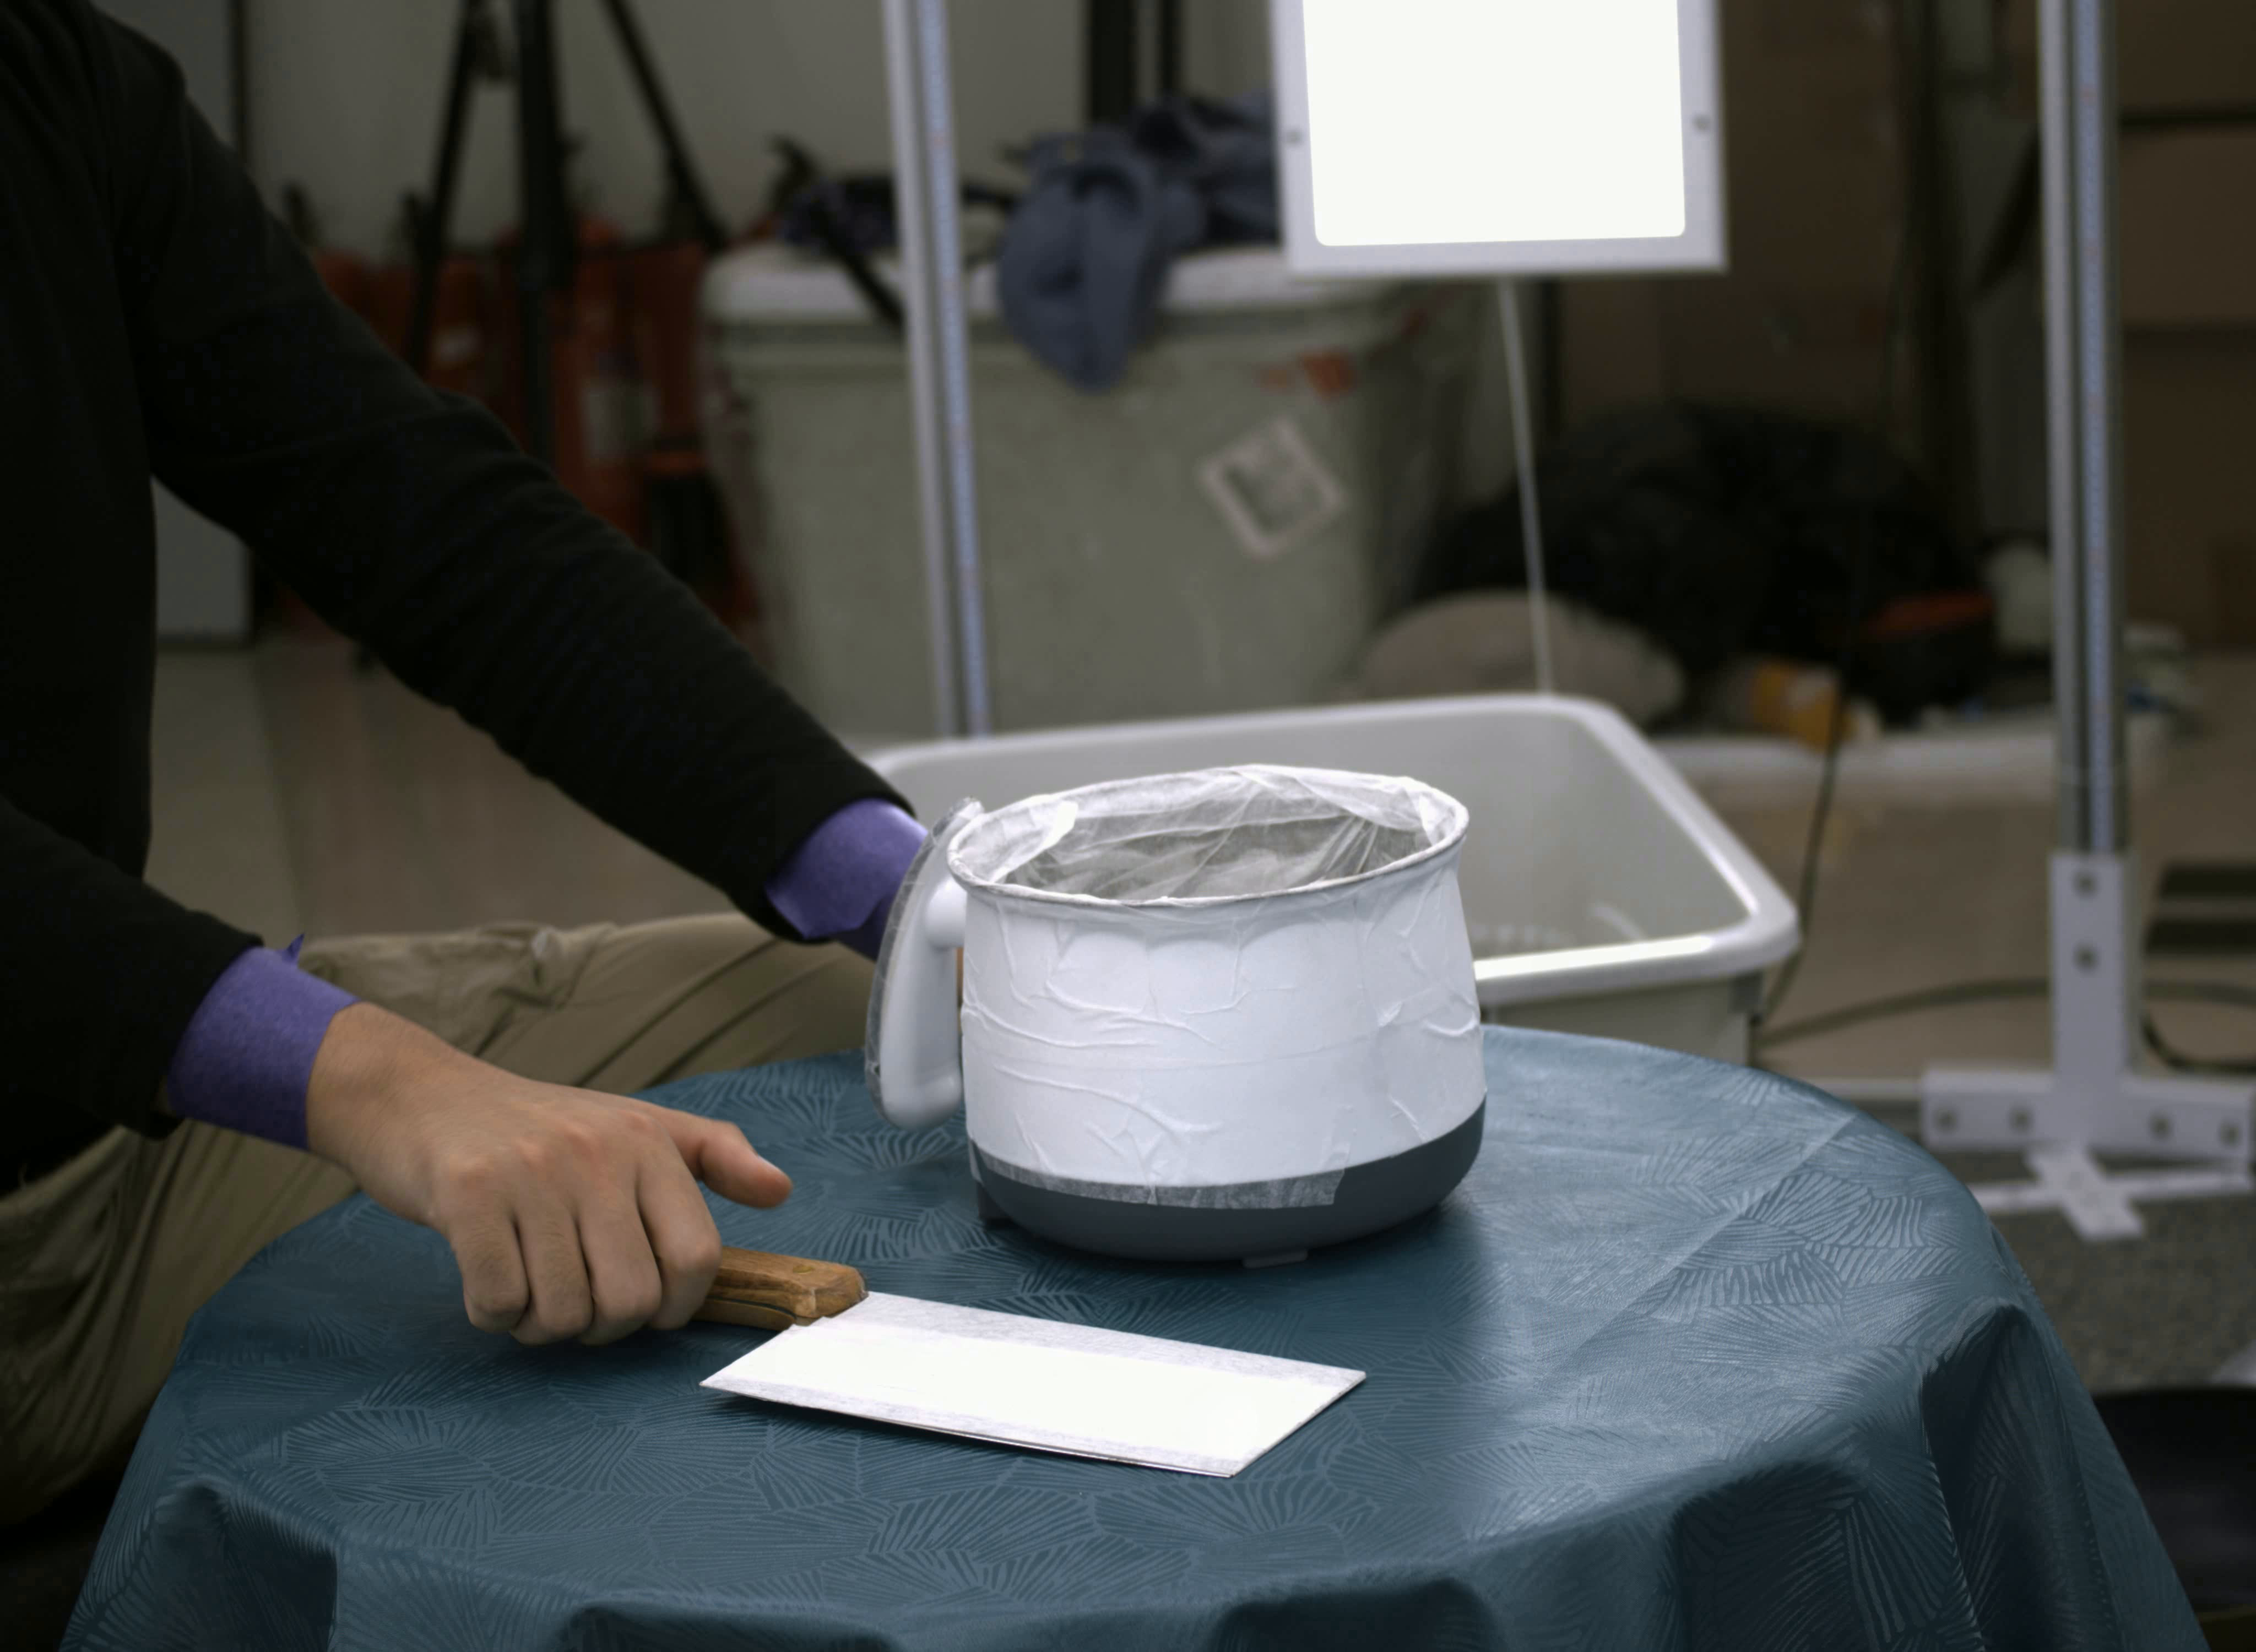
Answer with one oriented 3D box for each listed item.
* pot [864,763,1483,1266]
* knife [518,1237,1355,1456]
[{"bbox_3d":[0.008,0.060,1.873,0.238,0.137,0.174,6,17,34],"label":"pot"},{"bbox_3d":[-0.078,0.166,1.738,0.311,0.021,0.091,6,17,32],"label":"knife"}]
